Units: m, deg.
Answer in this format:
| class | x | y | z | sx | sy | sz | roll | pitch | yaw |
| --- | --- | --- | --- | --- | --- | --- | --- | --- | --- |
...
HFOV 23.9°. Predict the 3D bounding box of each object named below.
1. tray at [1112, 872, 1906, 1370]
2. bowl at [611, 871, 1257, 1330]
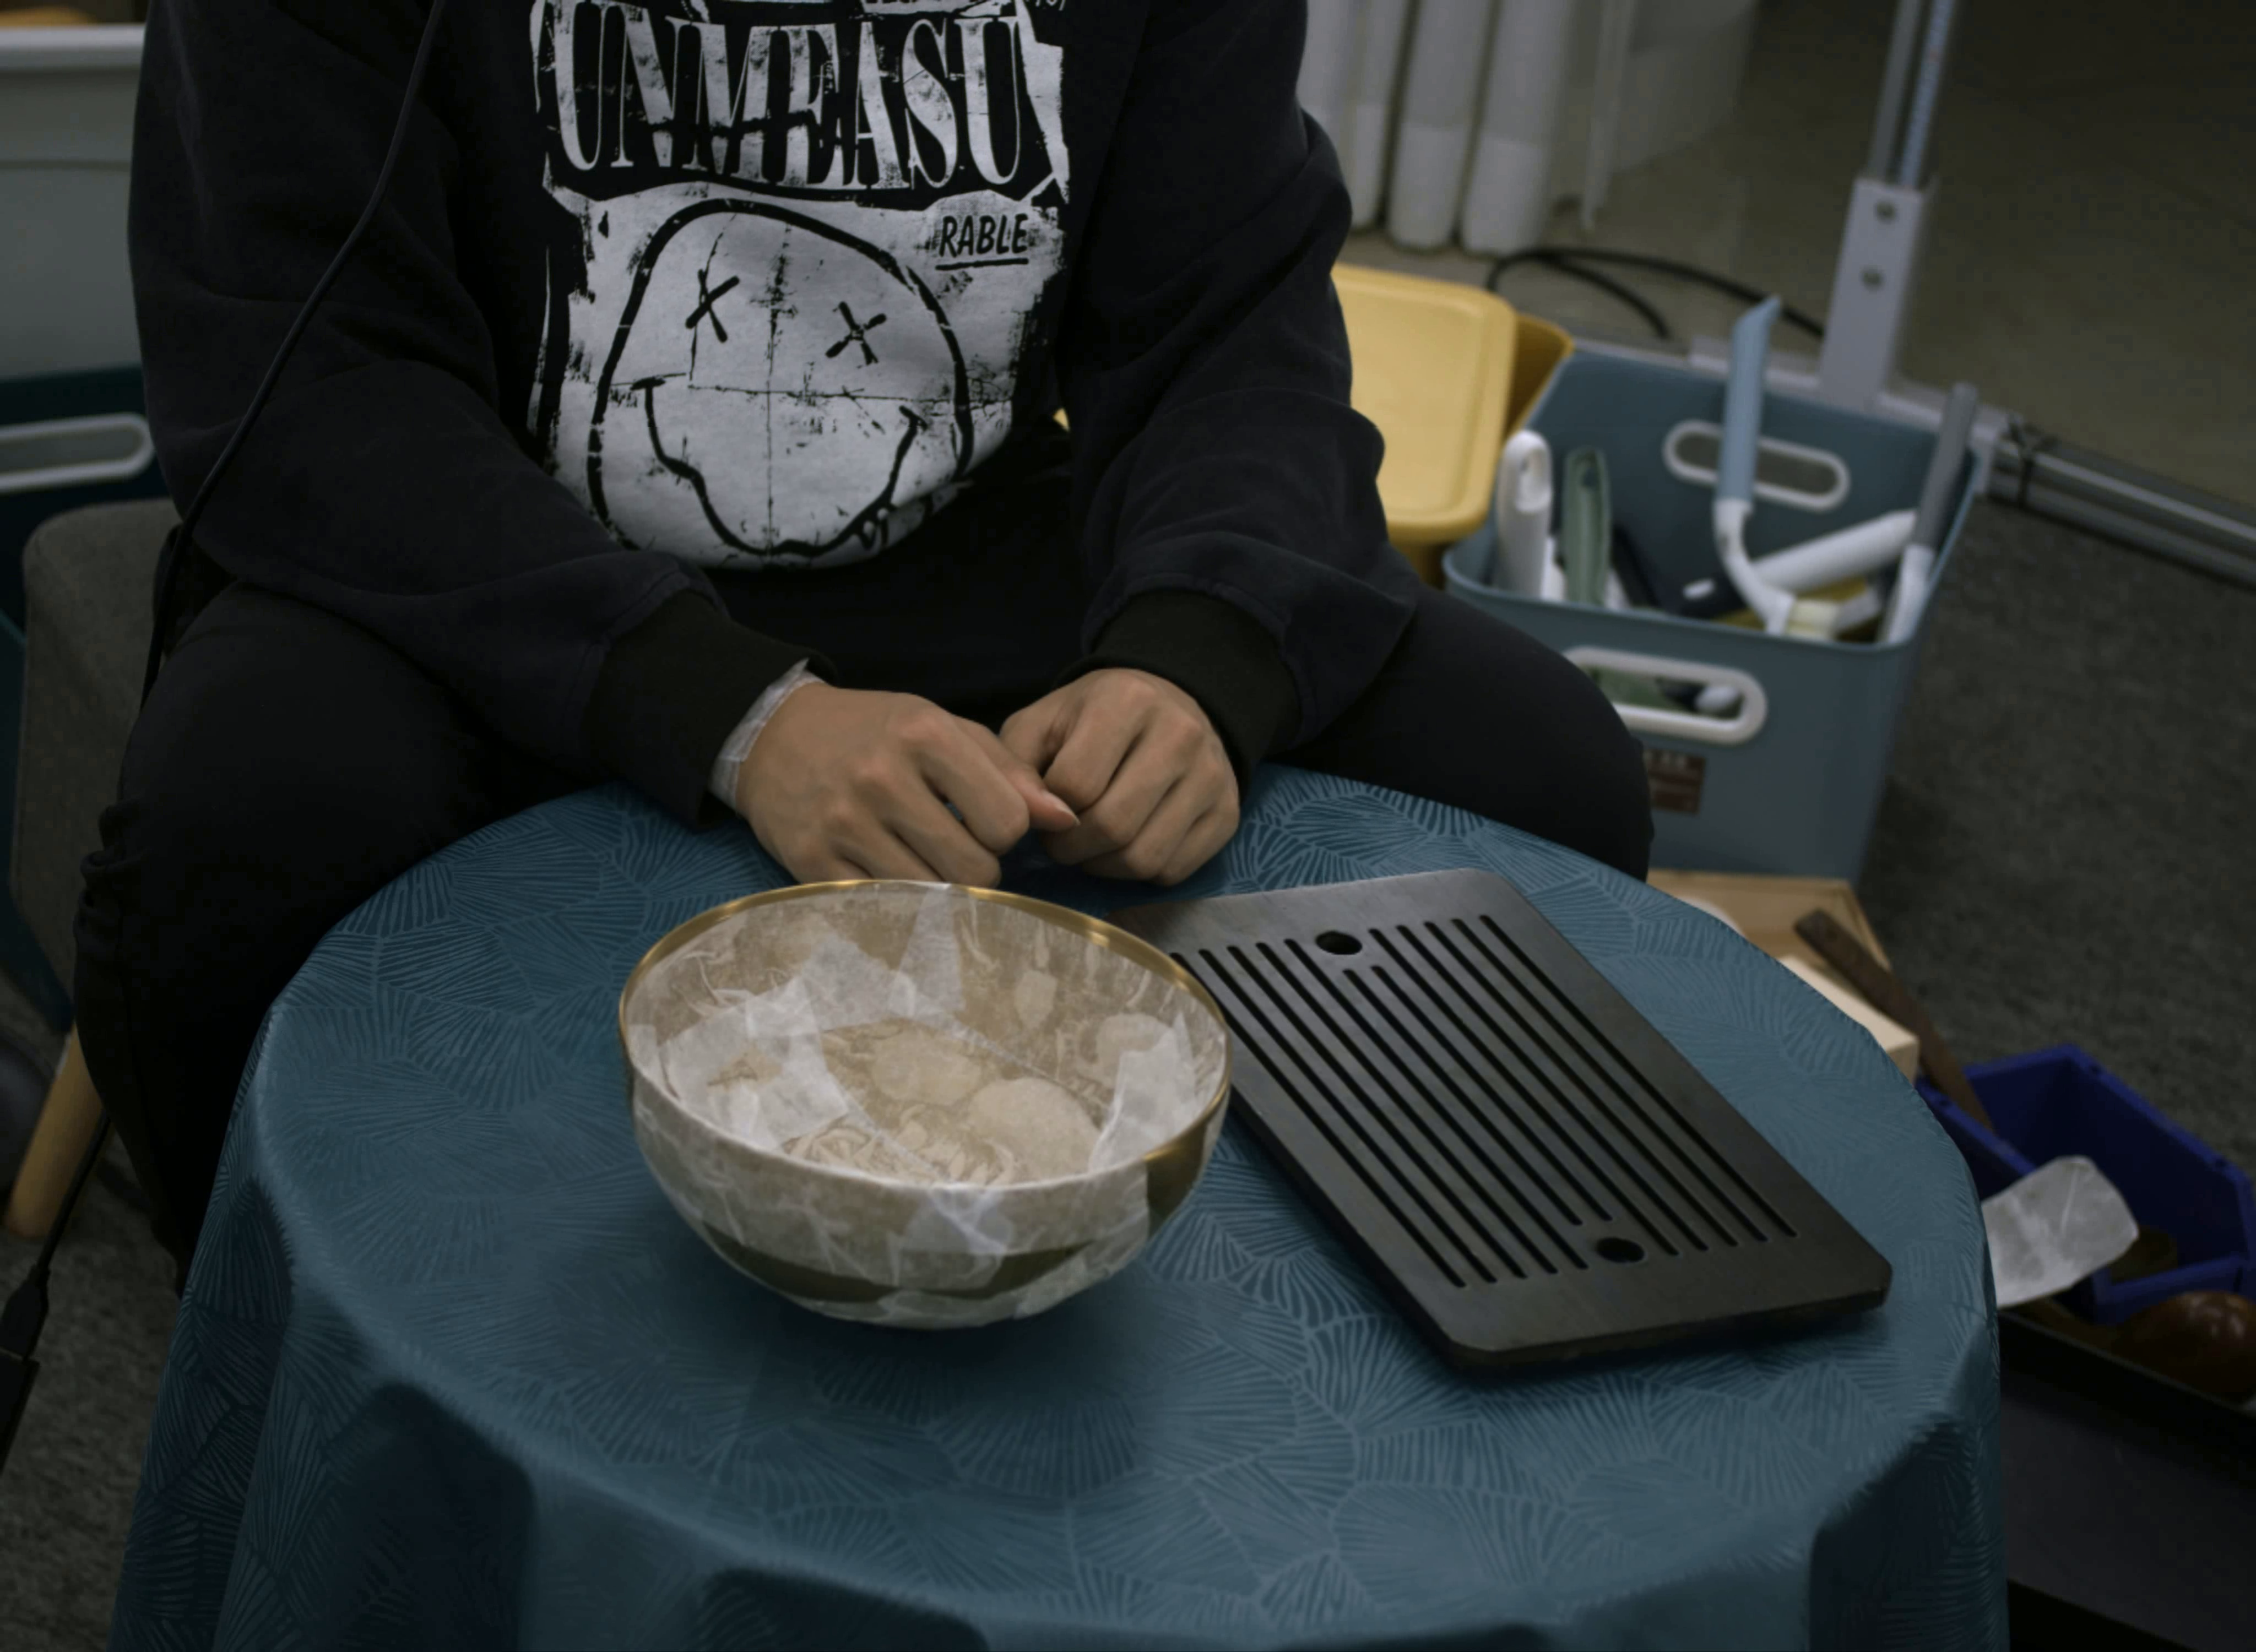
| class | x | y | z | sx | sy | sz | roll | pitch | yaw |
| --- | --- | --- | --- | --- | --- | --- | --- | --- | --- |
| tray | 0.125 | 0.100 | 1.857 | 0.169 | 0.018 | 0.309 | -6 | 29 | -24 |
| bowl | -0.066 | 0.101 | 1.728 | 0.214 | 0.094 | 0.216 | 4 | 26 | -2 |
